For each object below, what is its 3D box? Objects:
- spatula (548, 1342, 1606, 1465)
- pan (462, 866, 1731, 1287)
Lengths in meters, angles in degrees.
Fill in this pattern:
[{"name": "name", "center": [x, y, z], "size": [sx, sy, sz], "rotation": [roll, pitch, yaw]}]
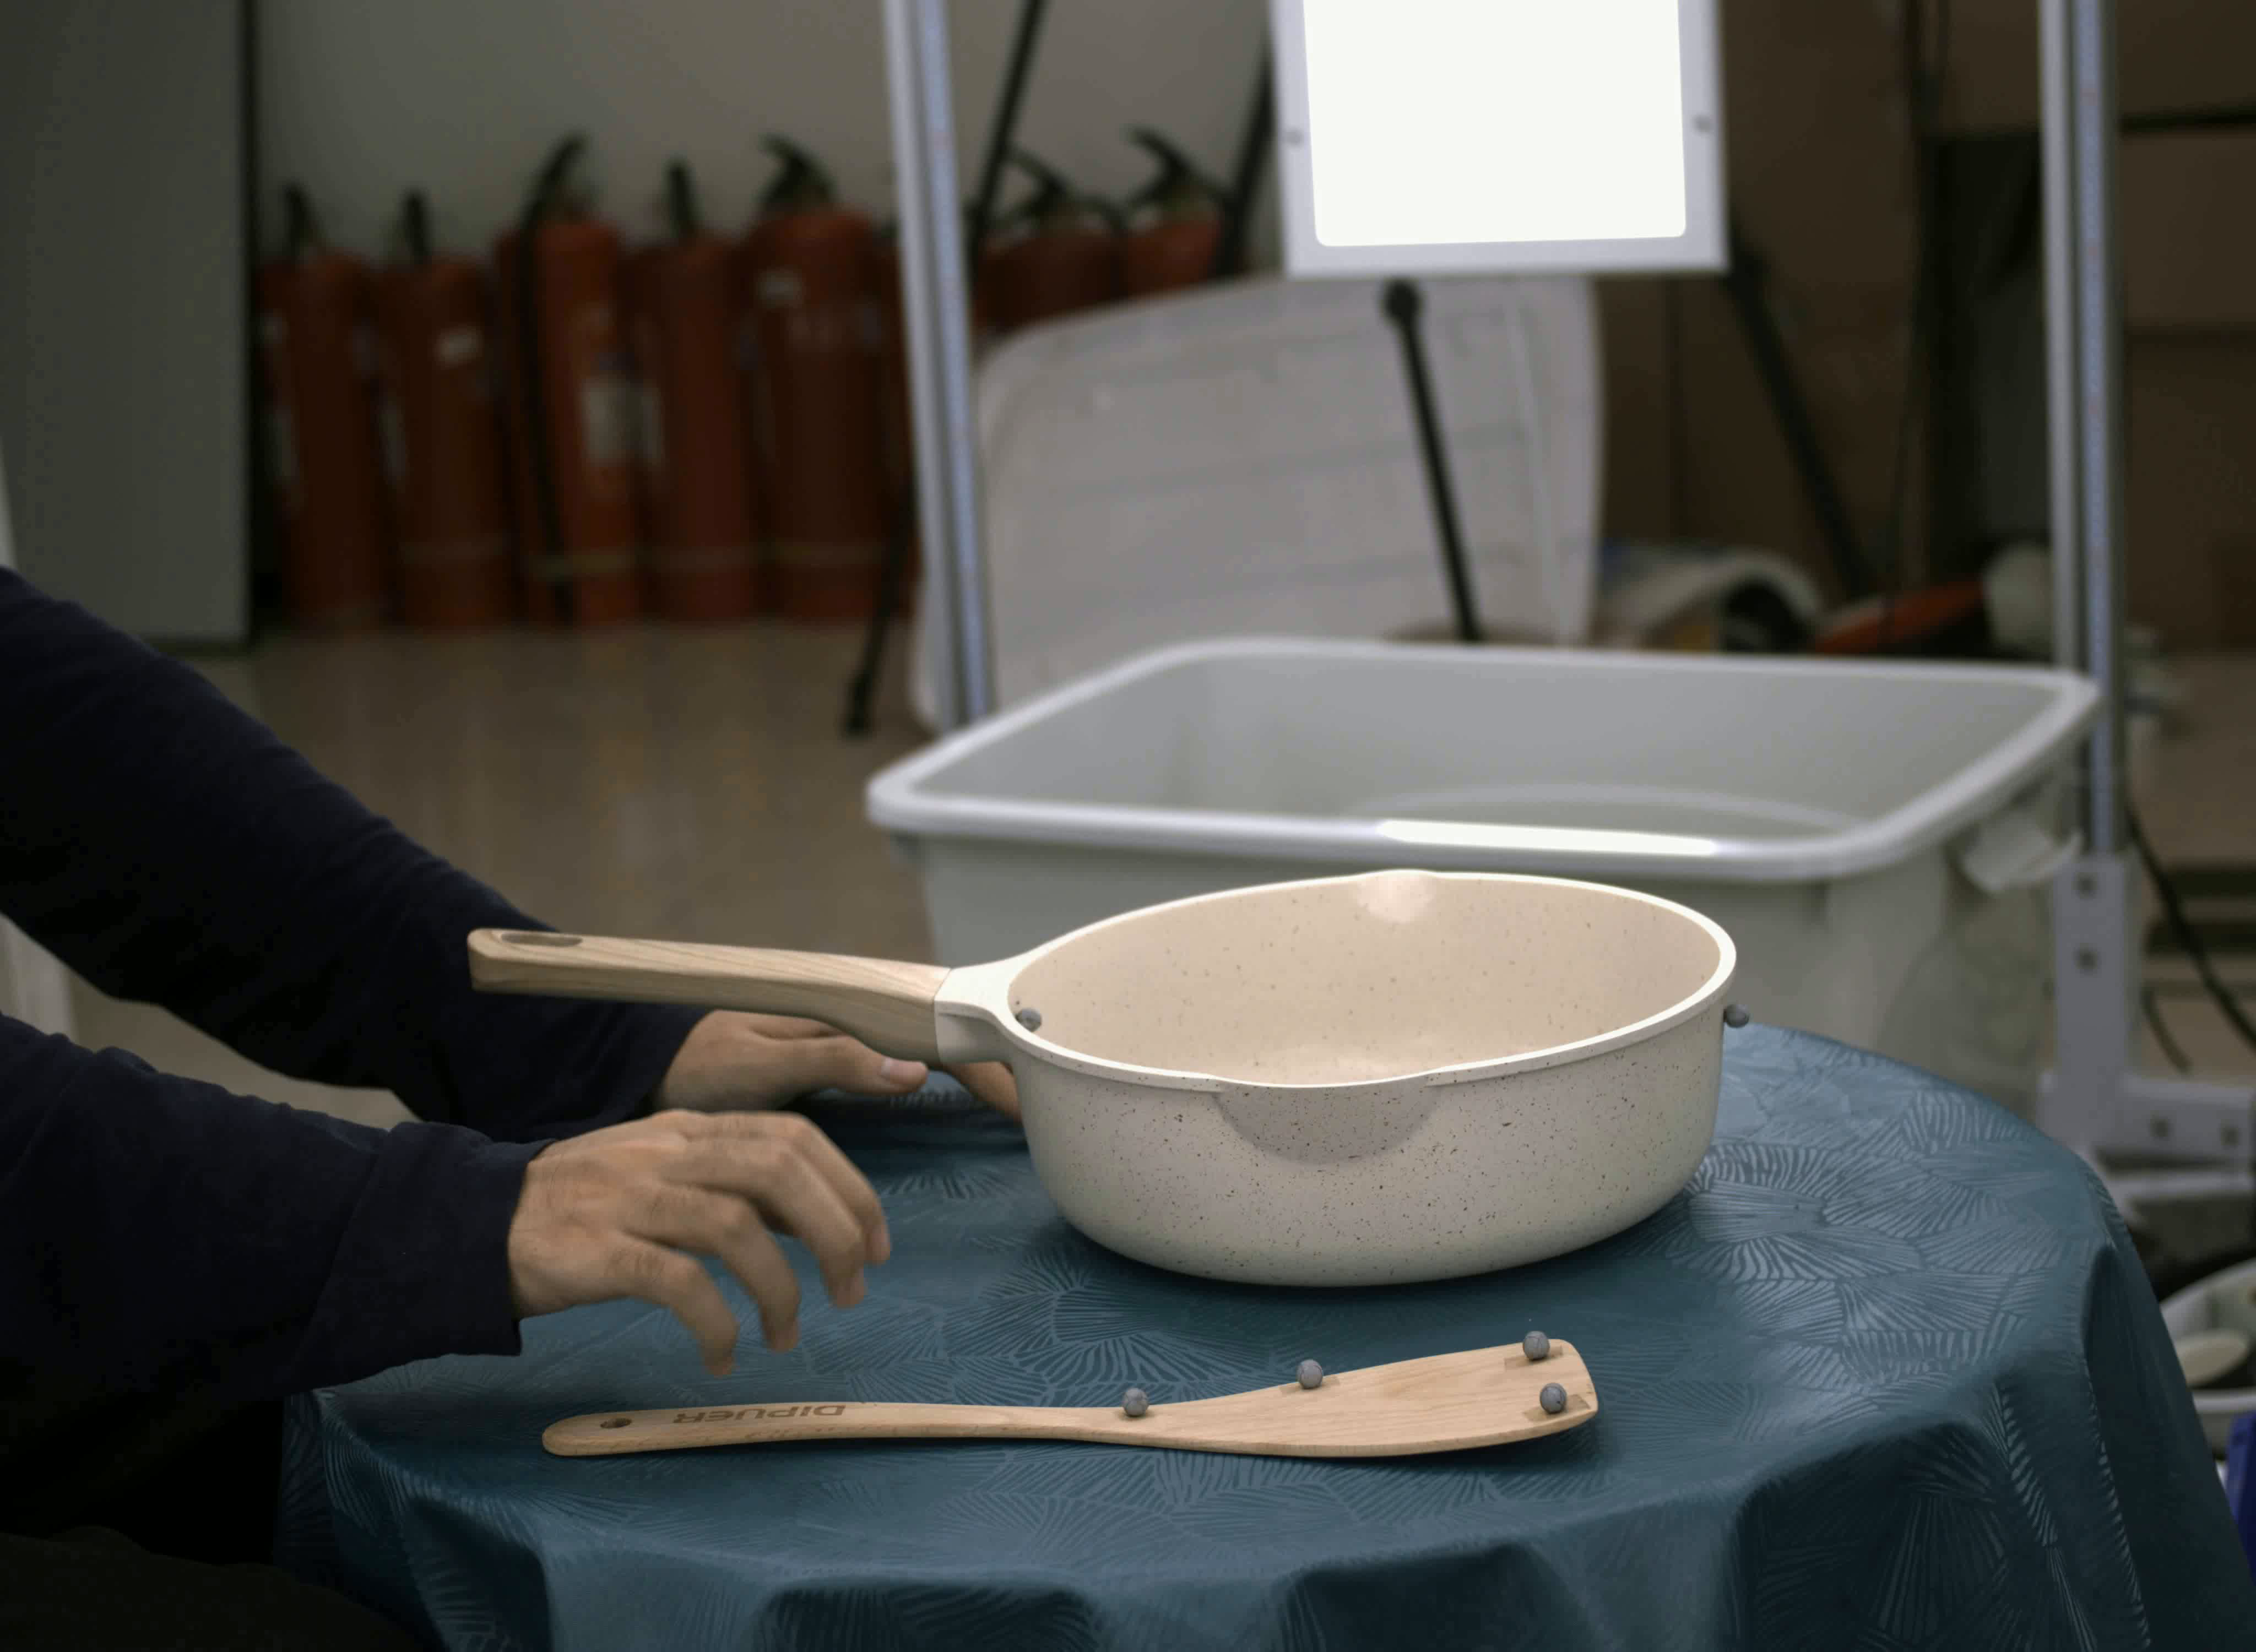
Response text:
[{"name": "spatula", "center": [-0.016, 0.178, 1.670], "size": [0.329, 0.016, 0.079], "rotation": [-3, 14, 11]}, {"name": "pan", "center": [-0.010, 0.084, 1.877], "size": [0.437, 0.102, 0.261], "rotation": [-3, 15, 10]}]
